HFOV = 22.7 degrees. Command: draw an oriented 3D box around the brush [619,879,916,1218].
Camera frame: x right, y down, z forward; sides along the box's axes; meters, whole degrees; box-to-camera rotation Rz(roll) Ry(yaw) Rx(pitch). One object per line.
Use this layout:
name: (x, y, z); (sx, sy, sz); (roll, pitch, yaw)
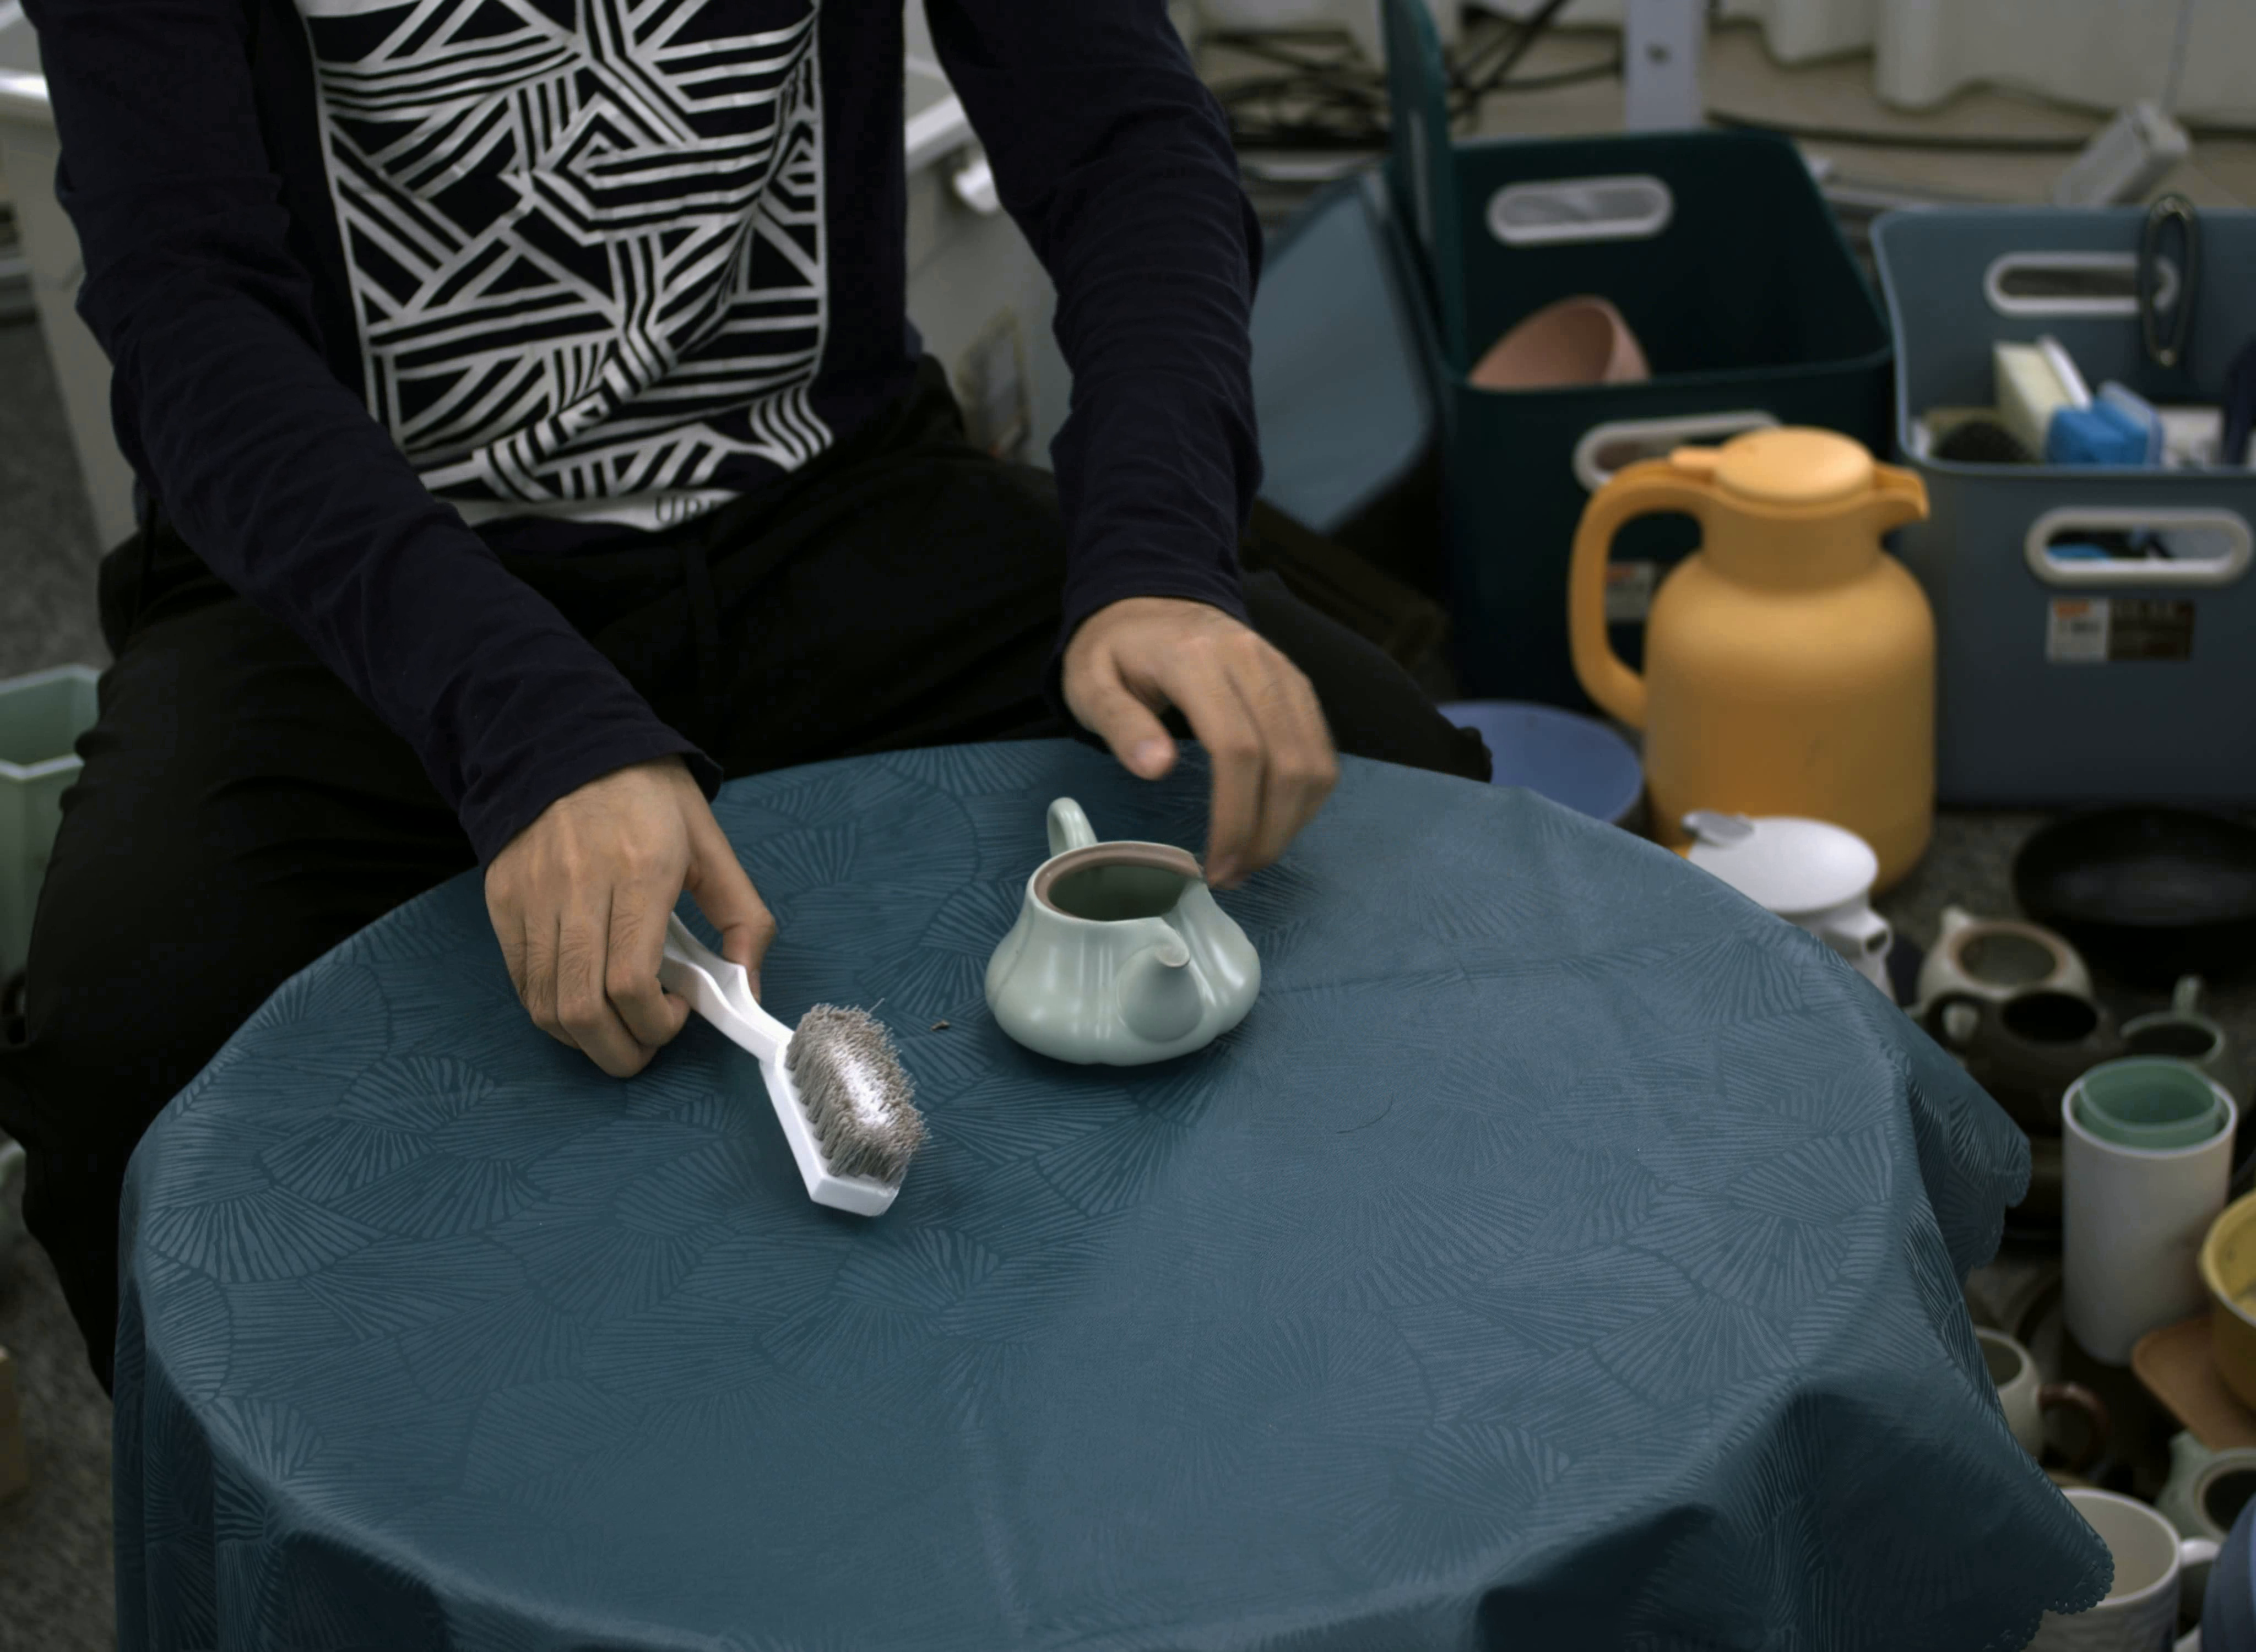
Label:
brush: (-0.128, 0.058, 1.930); (0.034, 0.050, 0.246); (-1, 26, -24)

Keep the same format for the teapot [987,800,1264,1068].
teapot: (-0.004, 0.041, 1.951); (0.096, 0.061, 0.138); (-15, 30, -17)
